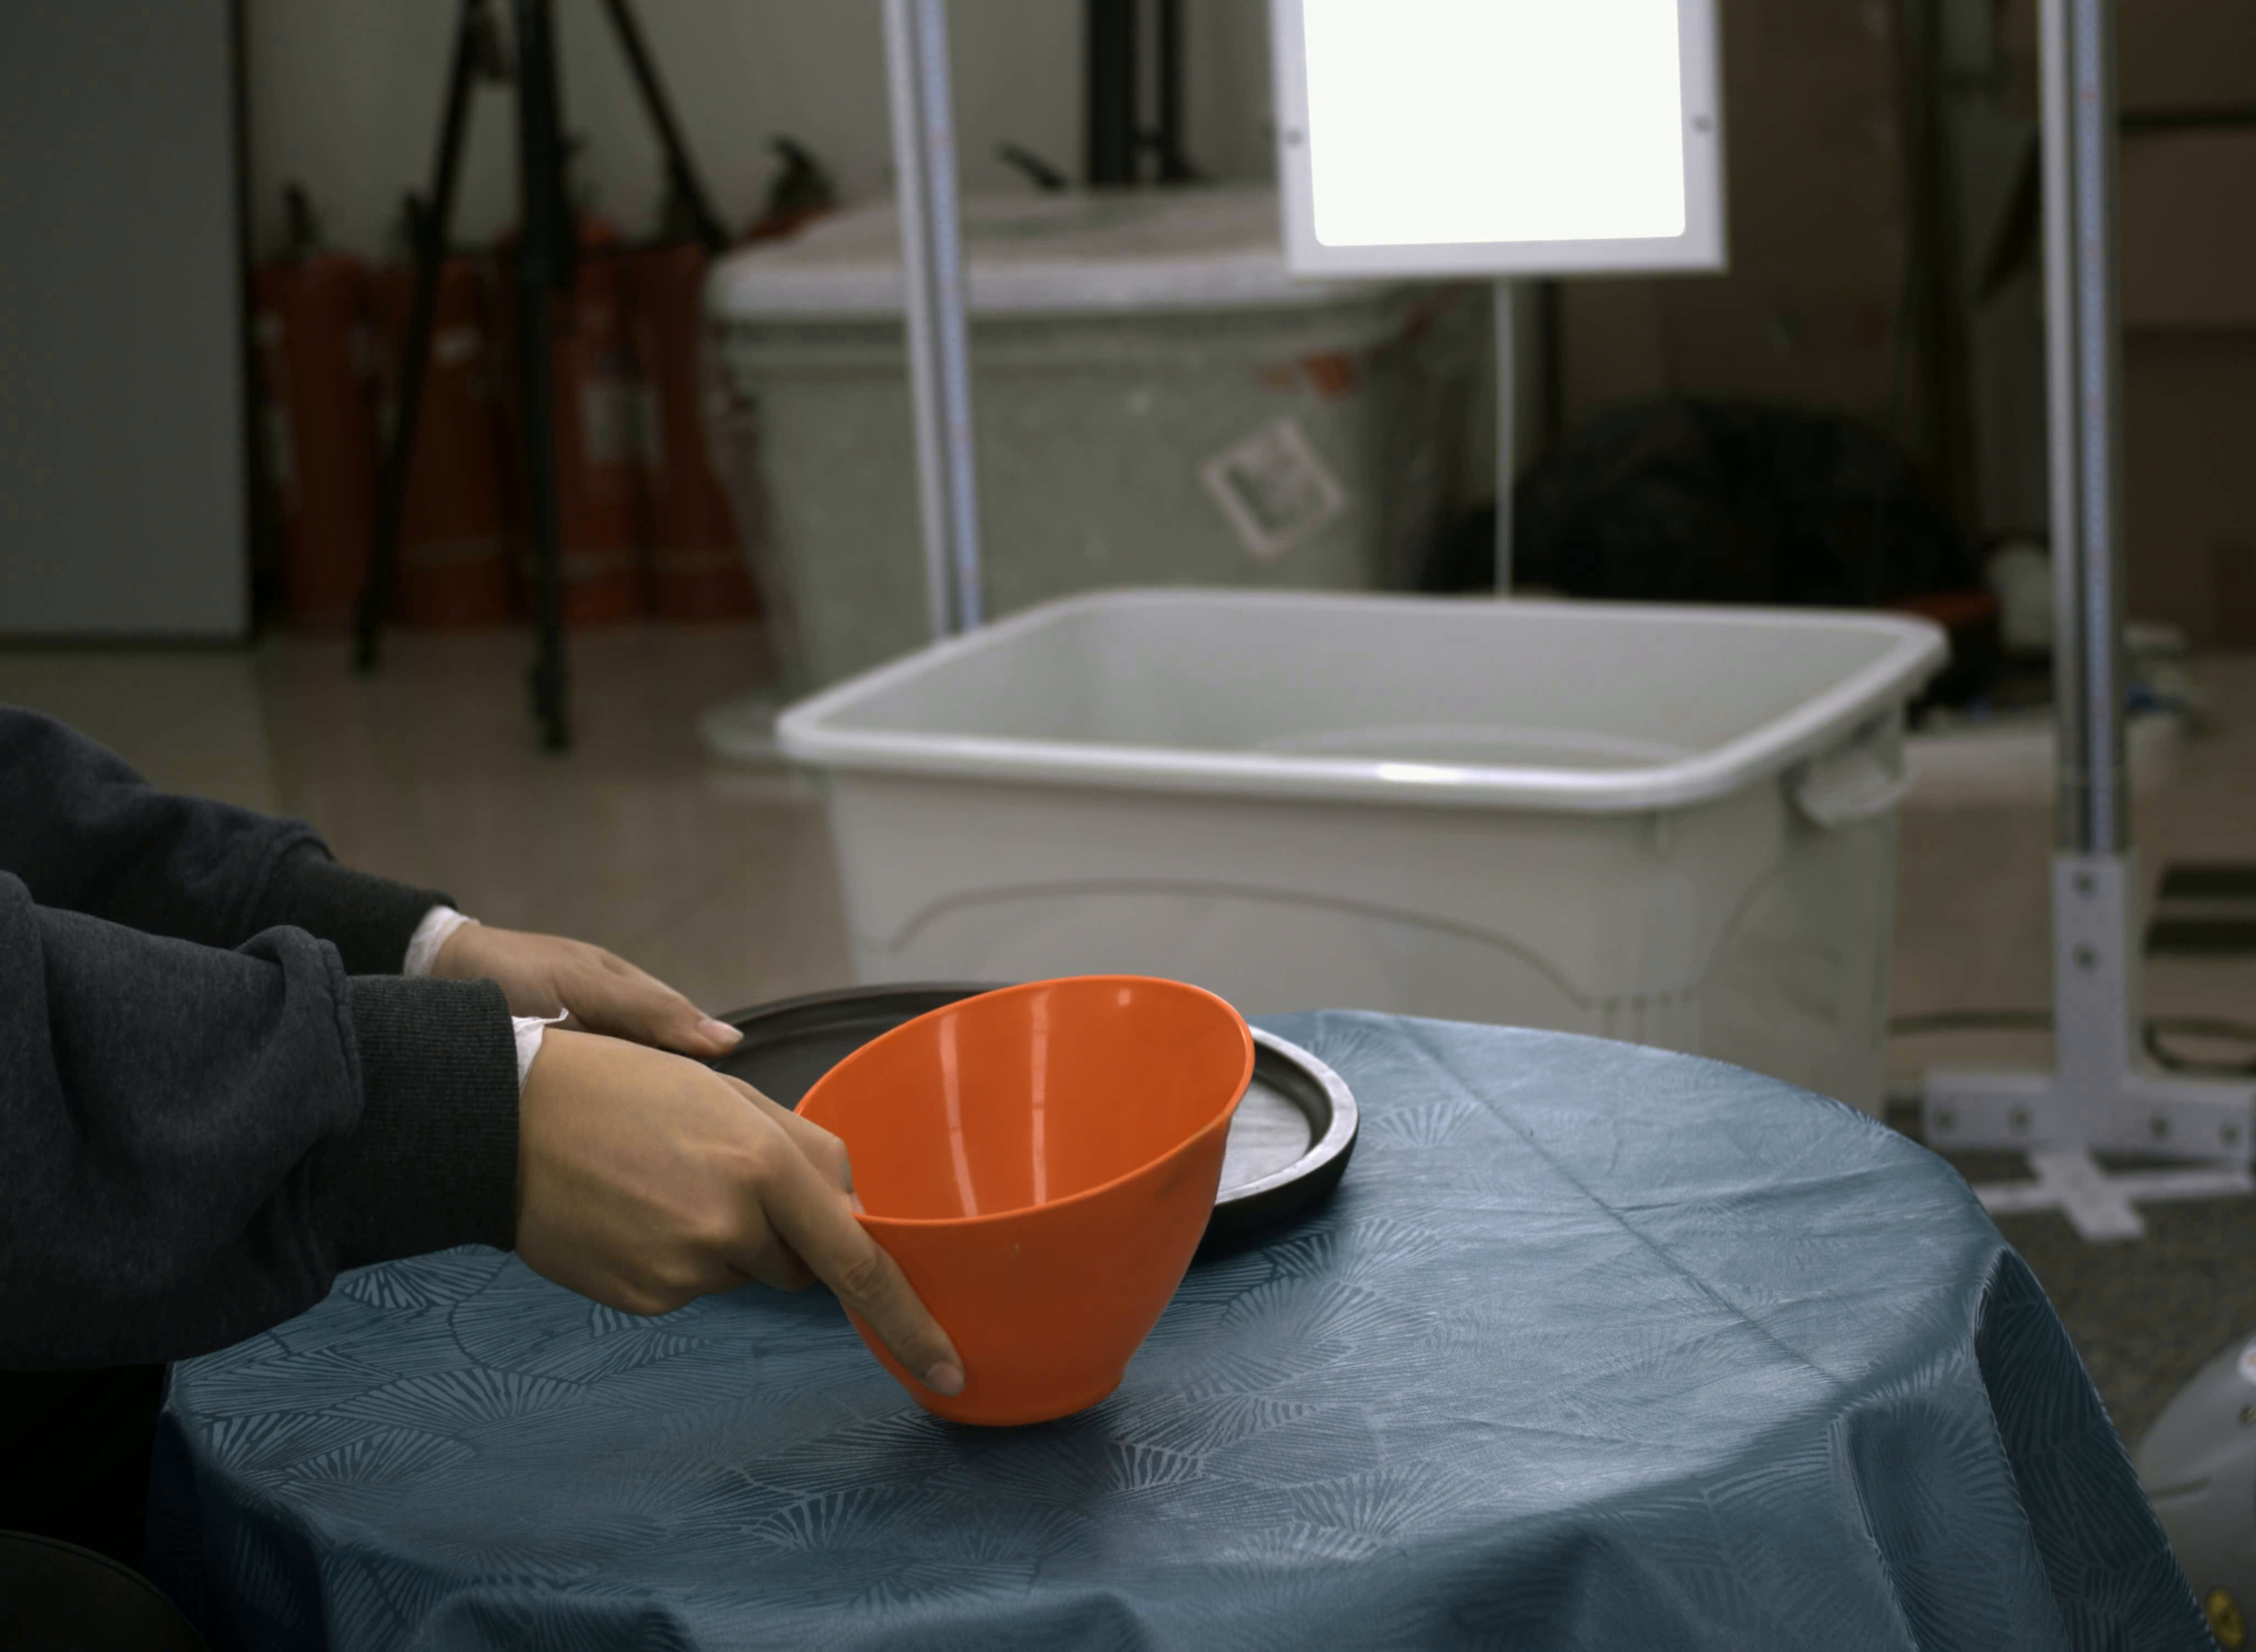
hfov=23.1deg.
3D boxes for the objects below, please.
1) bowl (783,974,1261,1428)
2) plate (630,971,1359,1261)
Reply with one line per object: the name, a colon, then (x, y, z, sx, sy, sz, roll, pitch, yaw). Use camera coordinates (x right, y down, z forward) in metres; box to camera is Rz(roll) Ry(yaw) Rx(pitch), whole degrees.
bowl: (-0.029, 0.119, 1.681, 0.148, 0.105, 0.148, -6, 20, 1)
plate: (-0.046, 0.102, 1.905, 0.254, 0.029, 0.254, 1, 18, -2)
